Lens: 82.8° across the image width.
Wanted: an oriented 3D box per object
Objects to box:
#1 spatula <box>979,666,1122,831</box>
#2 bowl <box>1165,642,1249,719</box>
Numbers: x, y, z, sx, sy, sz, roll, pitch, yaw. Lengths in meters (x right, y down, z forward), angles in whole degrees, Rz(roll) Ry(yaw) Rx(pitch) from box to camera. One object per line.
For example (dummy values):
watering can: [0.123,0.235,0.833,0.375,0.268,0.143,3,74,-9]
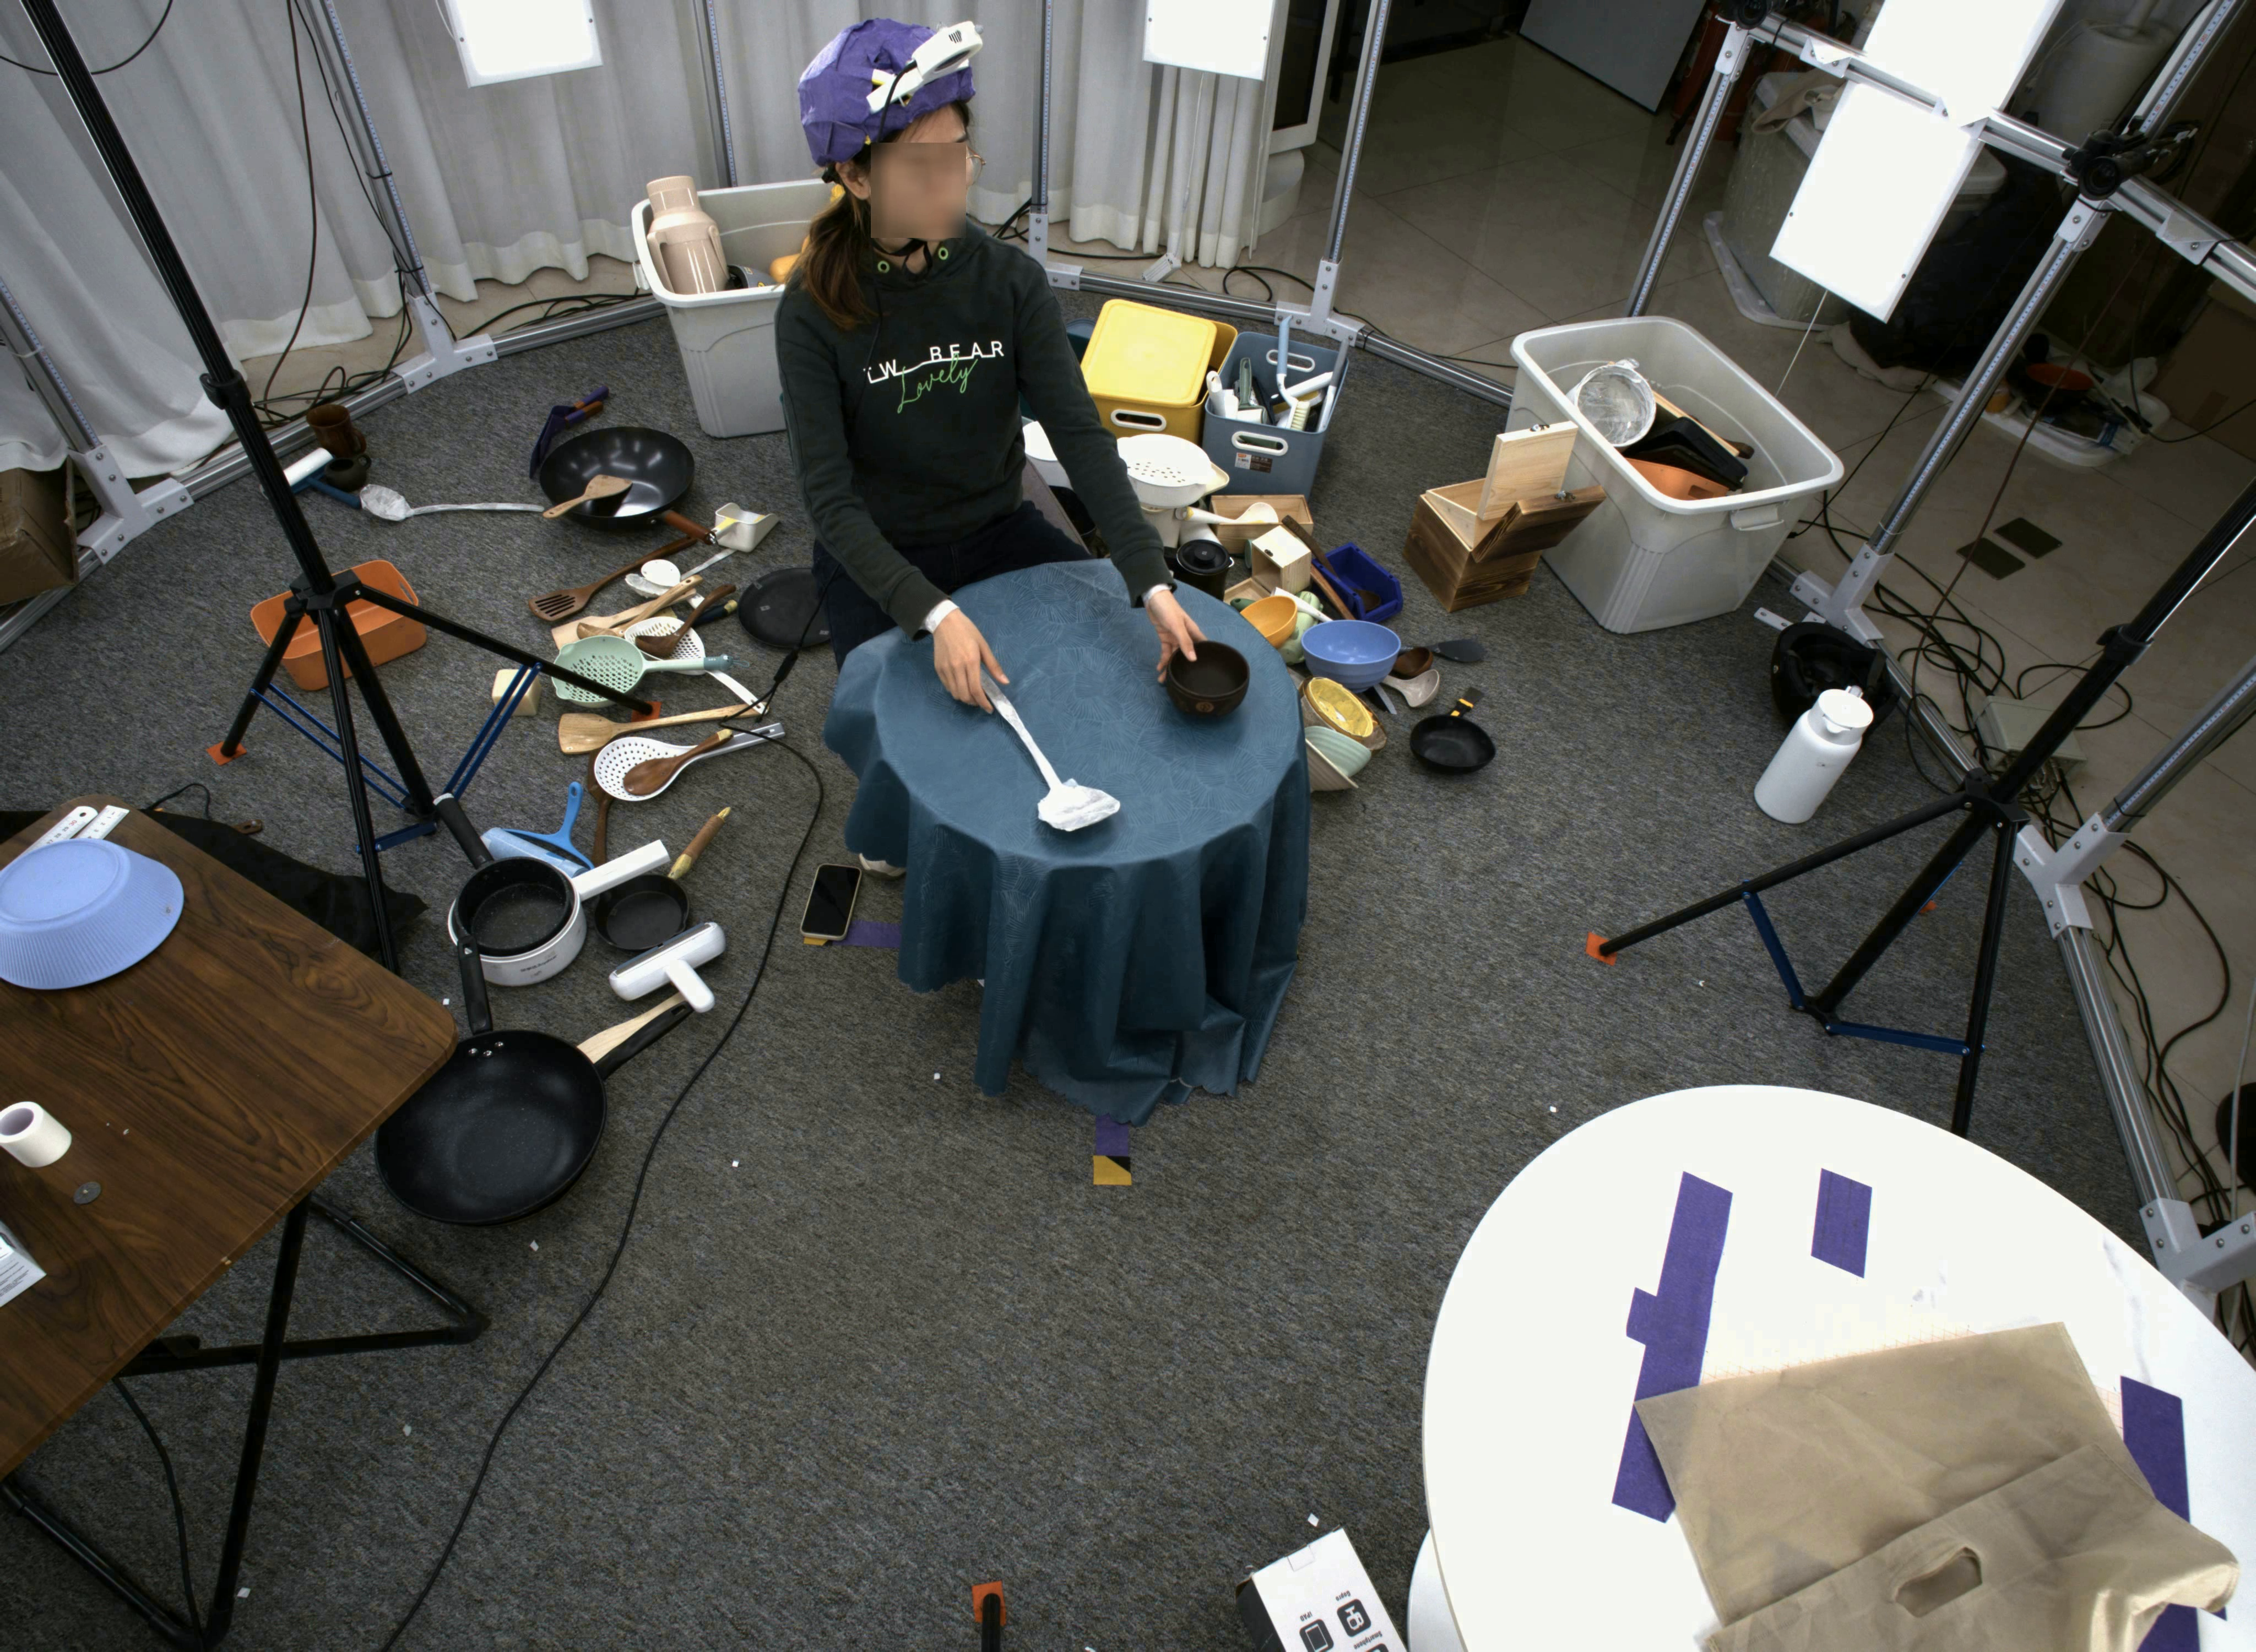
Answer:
spatula: [-0.129,-0.117,1.752,0.099,0.043,0.373,-21,54,-18]
bowl: [0.111,-0.197,1.818,0.118,0.068,0.121,2,46,-2]
